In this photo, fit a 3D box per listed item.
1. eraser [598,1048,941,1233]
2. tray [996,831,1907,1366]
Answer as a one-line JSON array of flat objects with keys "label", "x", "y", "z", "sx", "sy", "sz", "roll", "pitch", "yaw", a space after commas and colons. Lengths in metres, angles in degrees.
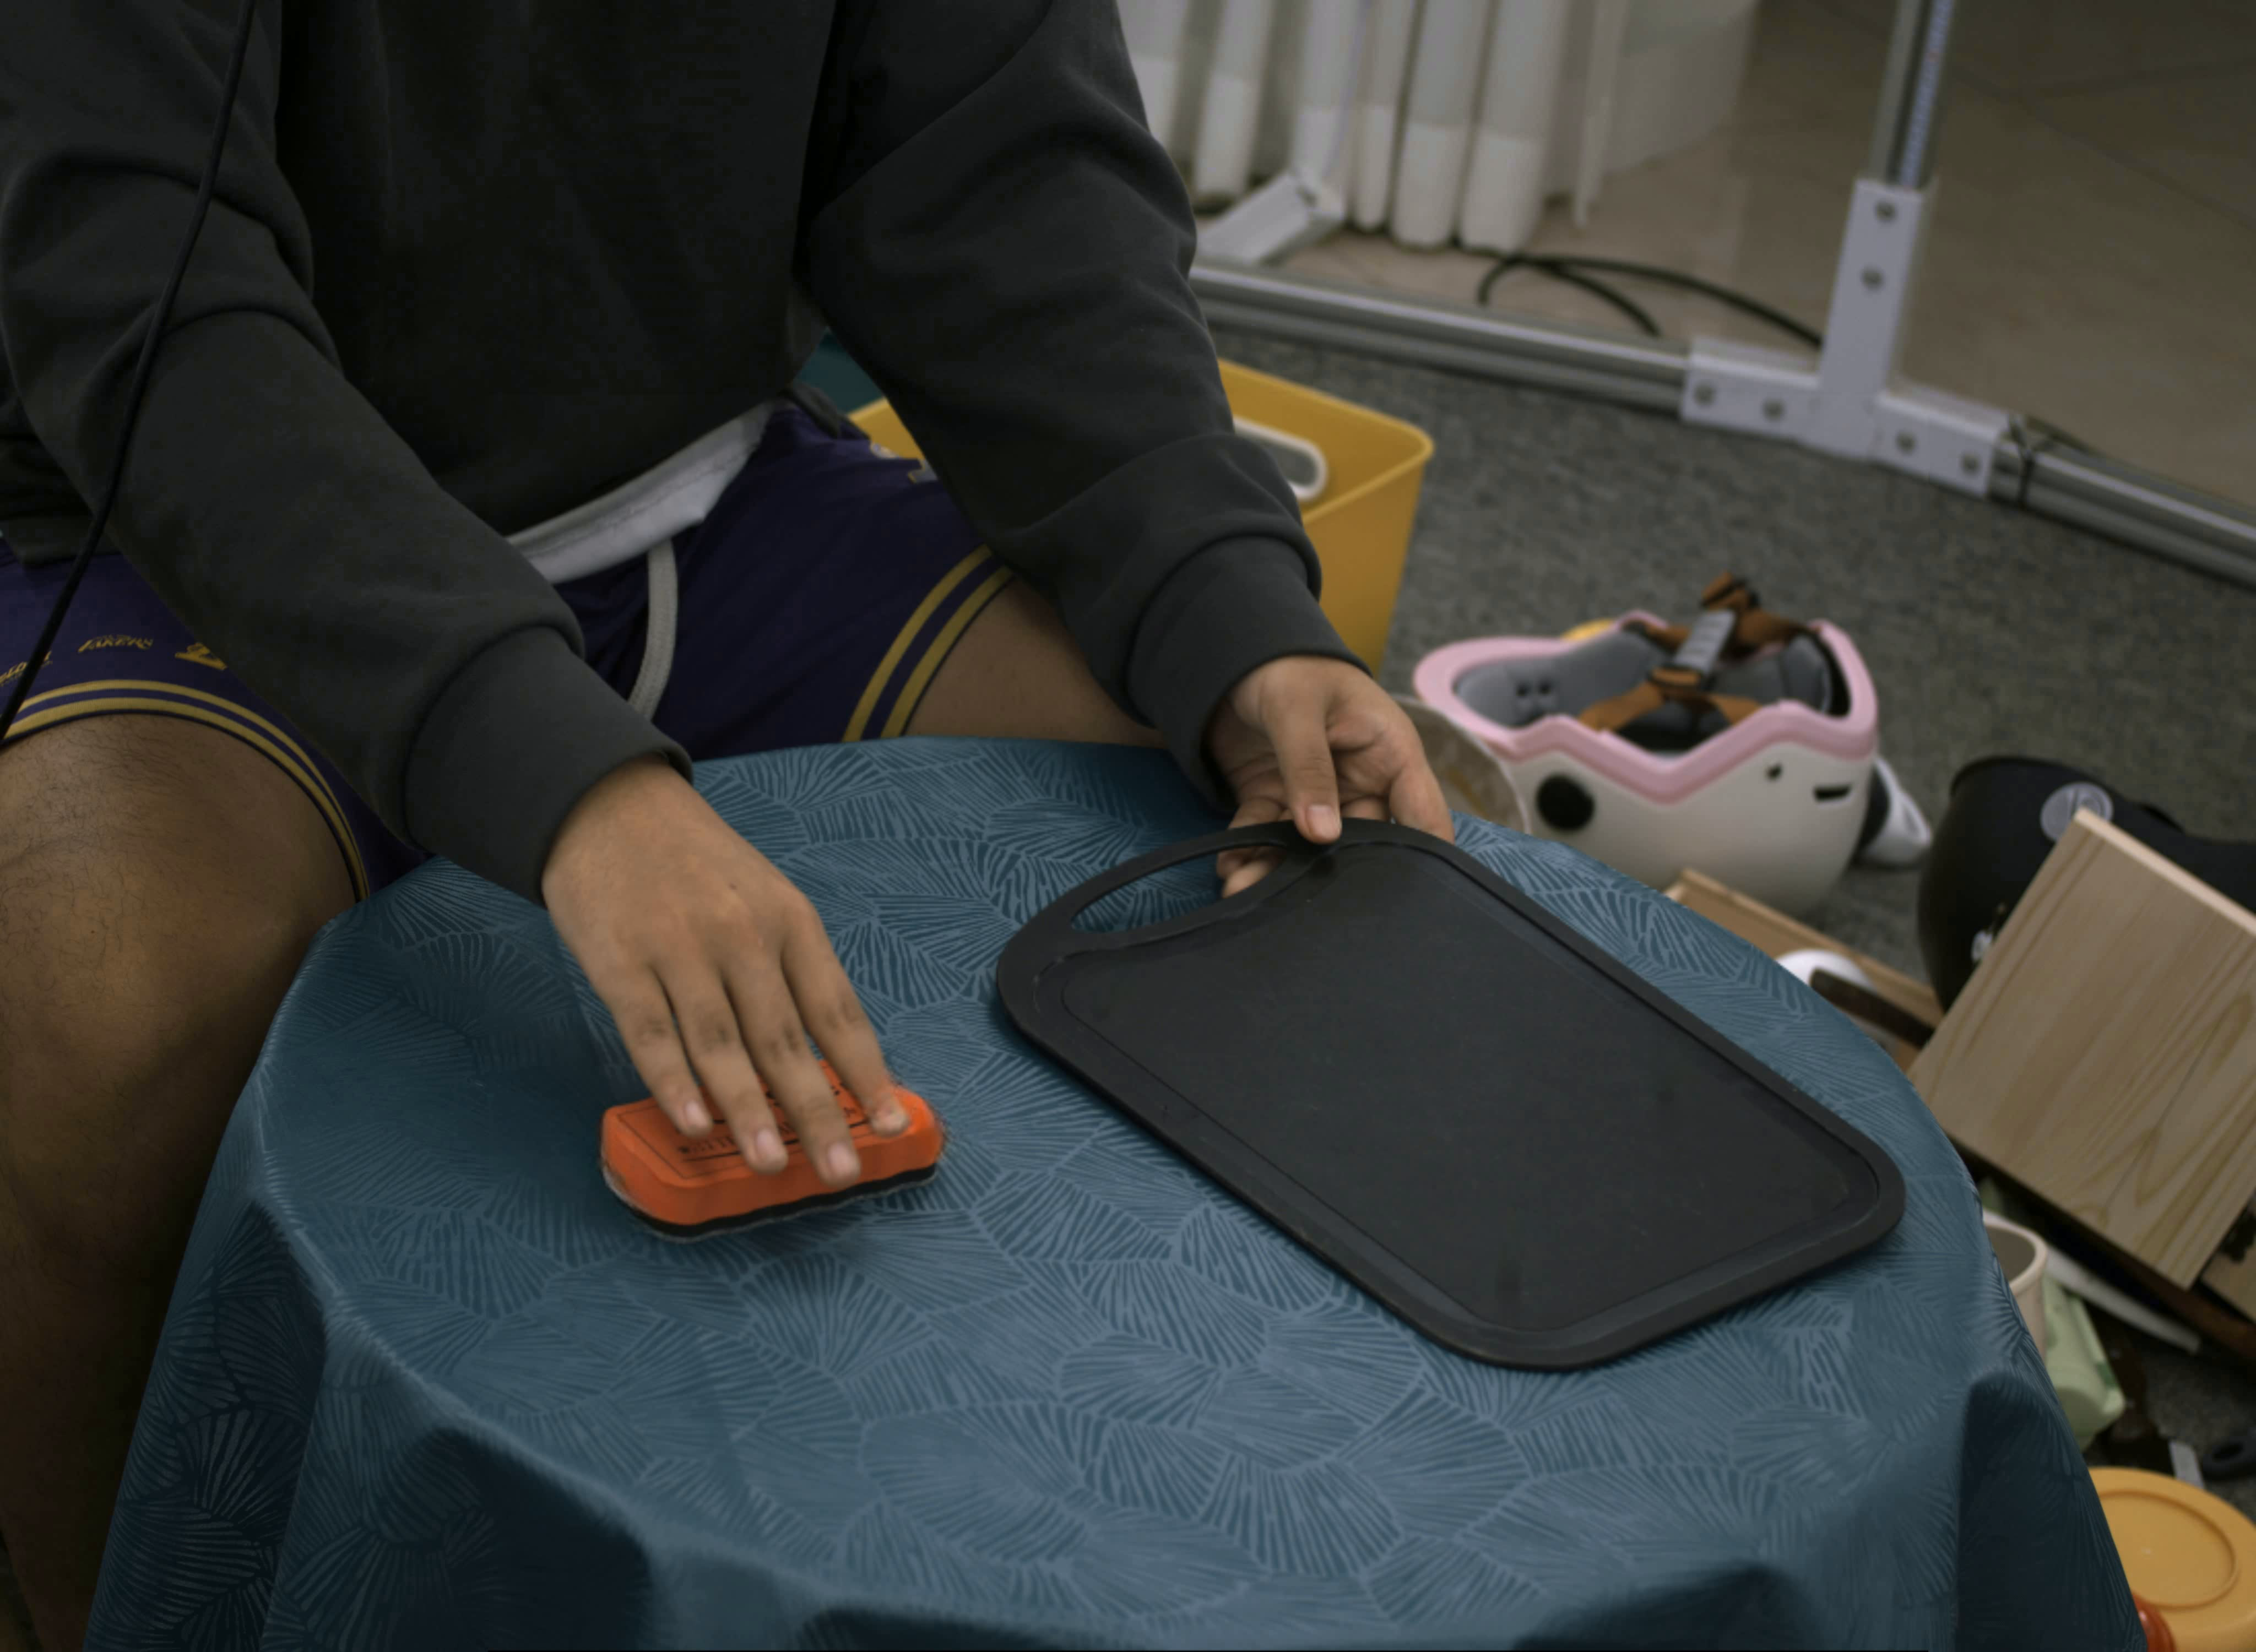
[{"label": "eraser", "x": -0.120, "y": 0.105, "z": 1.780, "sx": 0.107, "sy": 0.023, "sz": 0.059, "roll": -11, "pitch": 32, "yaw": -33}, {"label": "tray", "x": 0.104, "y": 0.085, "z": 1.872, "sx": 0.210, "sy": 0.010, "sz": 0.328, "roll": -18, "pitch": 37, "yaw": -33}]
